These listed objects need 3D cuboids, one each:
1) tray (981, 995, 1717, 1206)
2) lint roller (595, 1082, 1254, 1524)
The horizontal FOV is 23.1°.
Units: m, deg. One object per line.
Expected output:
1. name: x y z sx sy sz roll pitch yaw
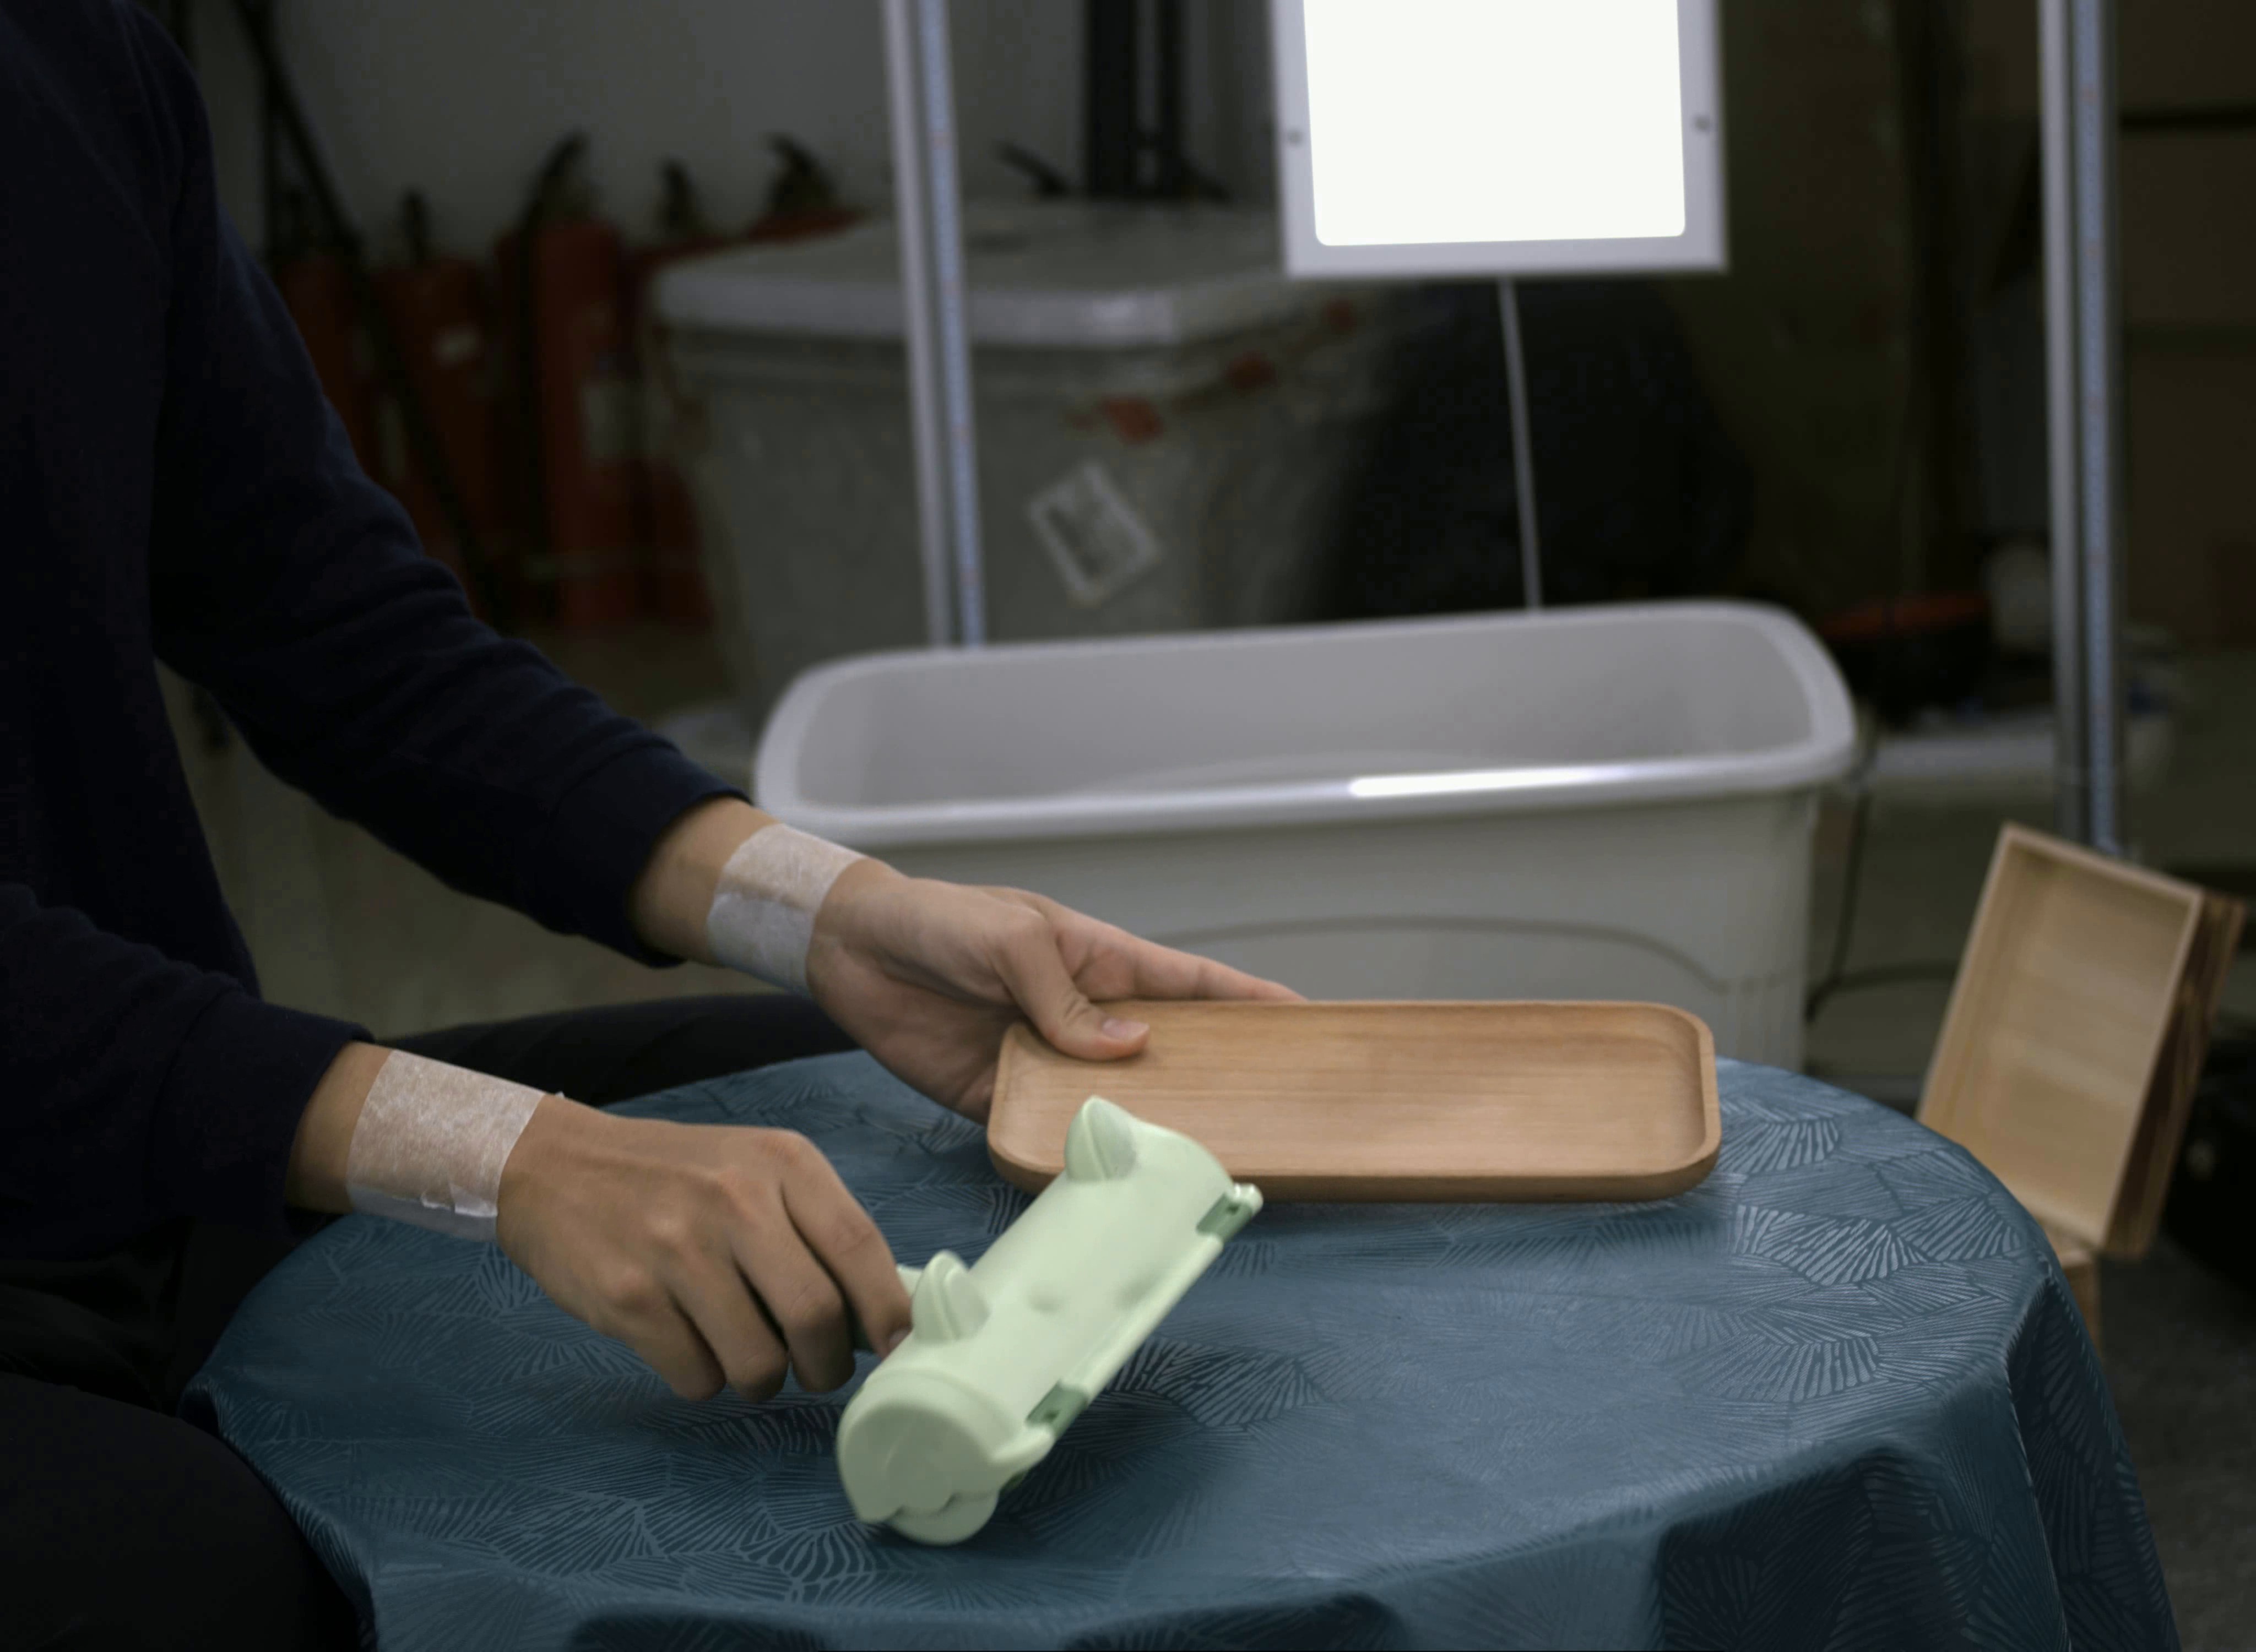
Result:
1. tray: 0.077 0.095 1.893 0.251 0.023 0.129 -1 24 7
2. lint roller: -0.076 0.126 1.670 0.185 0.083 0.195 14 25 18
